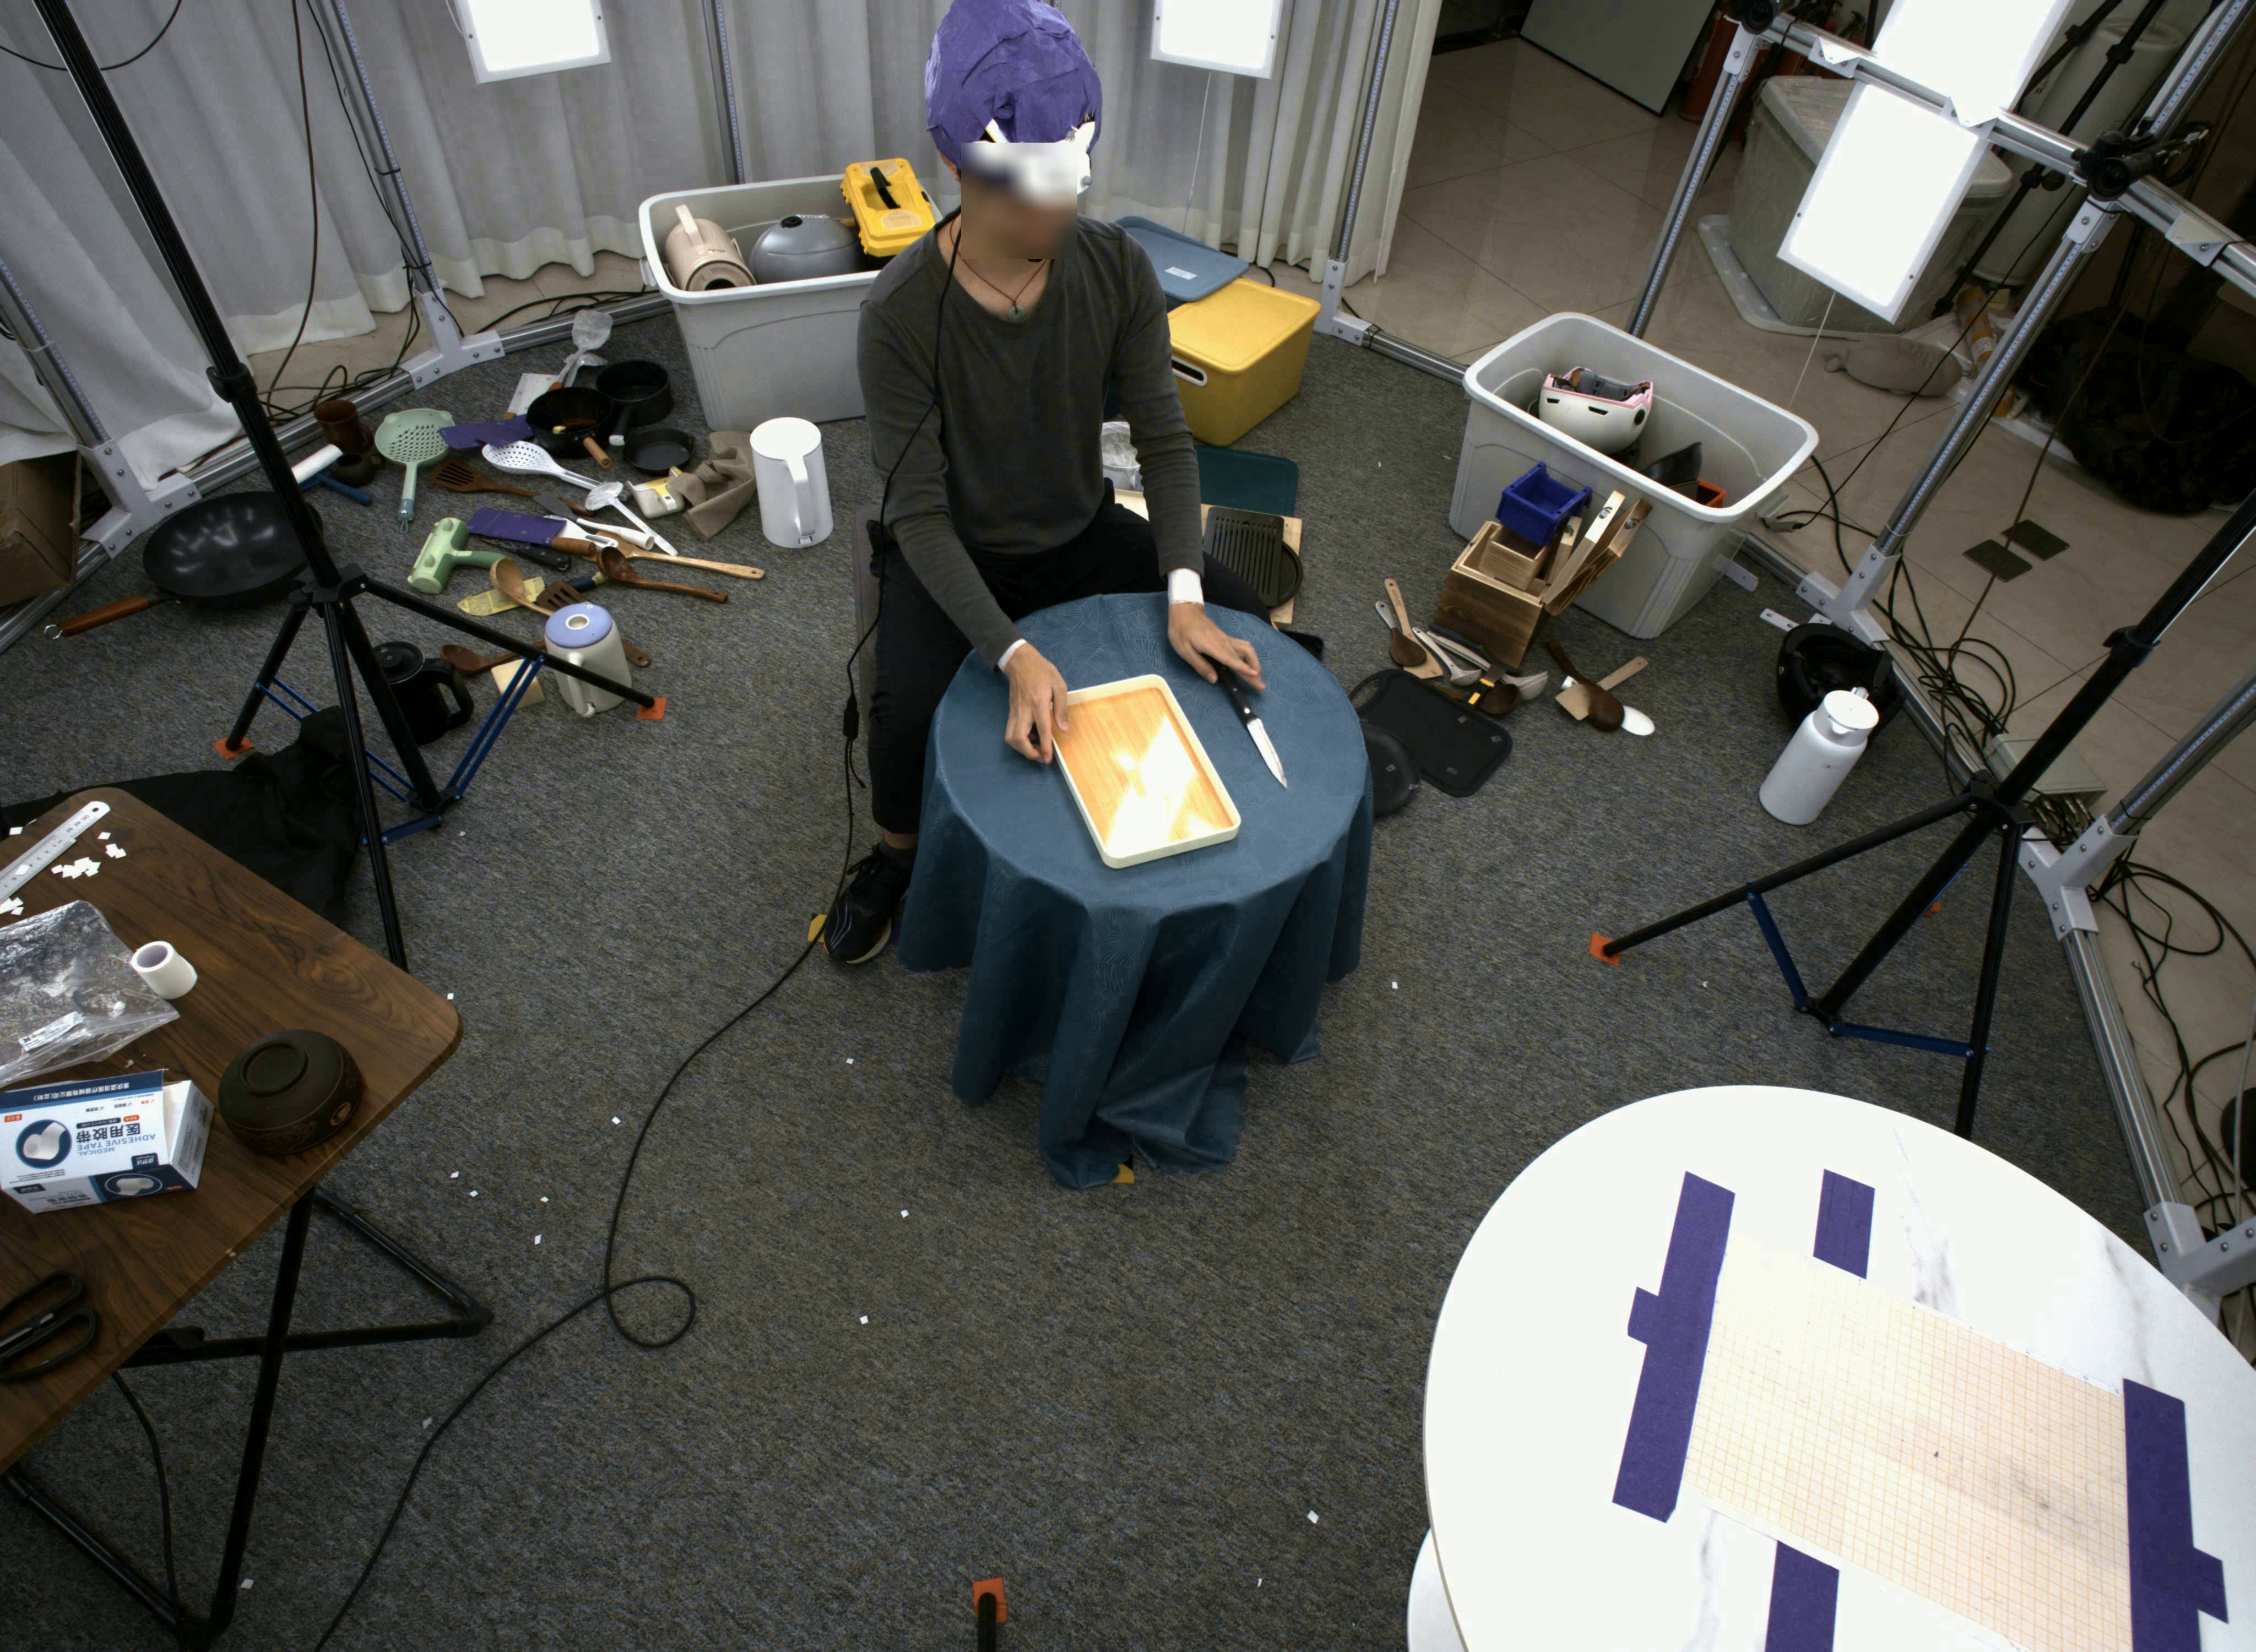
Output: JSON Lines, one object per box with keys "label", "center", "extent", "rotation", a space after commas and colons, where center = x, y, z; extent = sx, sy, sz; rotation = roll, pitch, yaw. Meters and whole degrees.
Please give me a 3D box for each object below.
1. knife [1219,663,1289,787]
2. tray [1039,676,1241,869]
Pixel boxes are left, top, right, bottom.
{"label": "knife", "center": [0.175, -0.142, 1.794], "extent": [0.024, 0.016, 0.244], "rotation": [-16, 53, -9]}
{"label": "tray", "center": [0.011, -0.080, 1.720], "extent": [0.191, 0.027, 0.307], "rotation": [-13, 51, -16]}
